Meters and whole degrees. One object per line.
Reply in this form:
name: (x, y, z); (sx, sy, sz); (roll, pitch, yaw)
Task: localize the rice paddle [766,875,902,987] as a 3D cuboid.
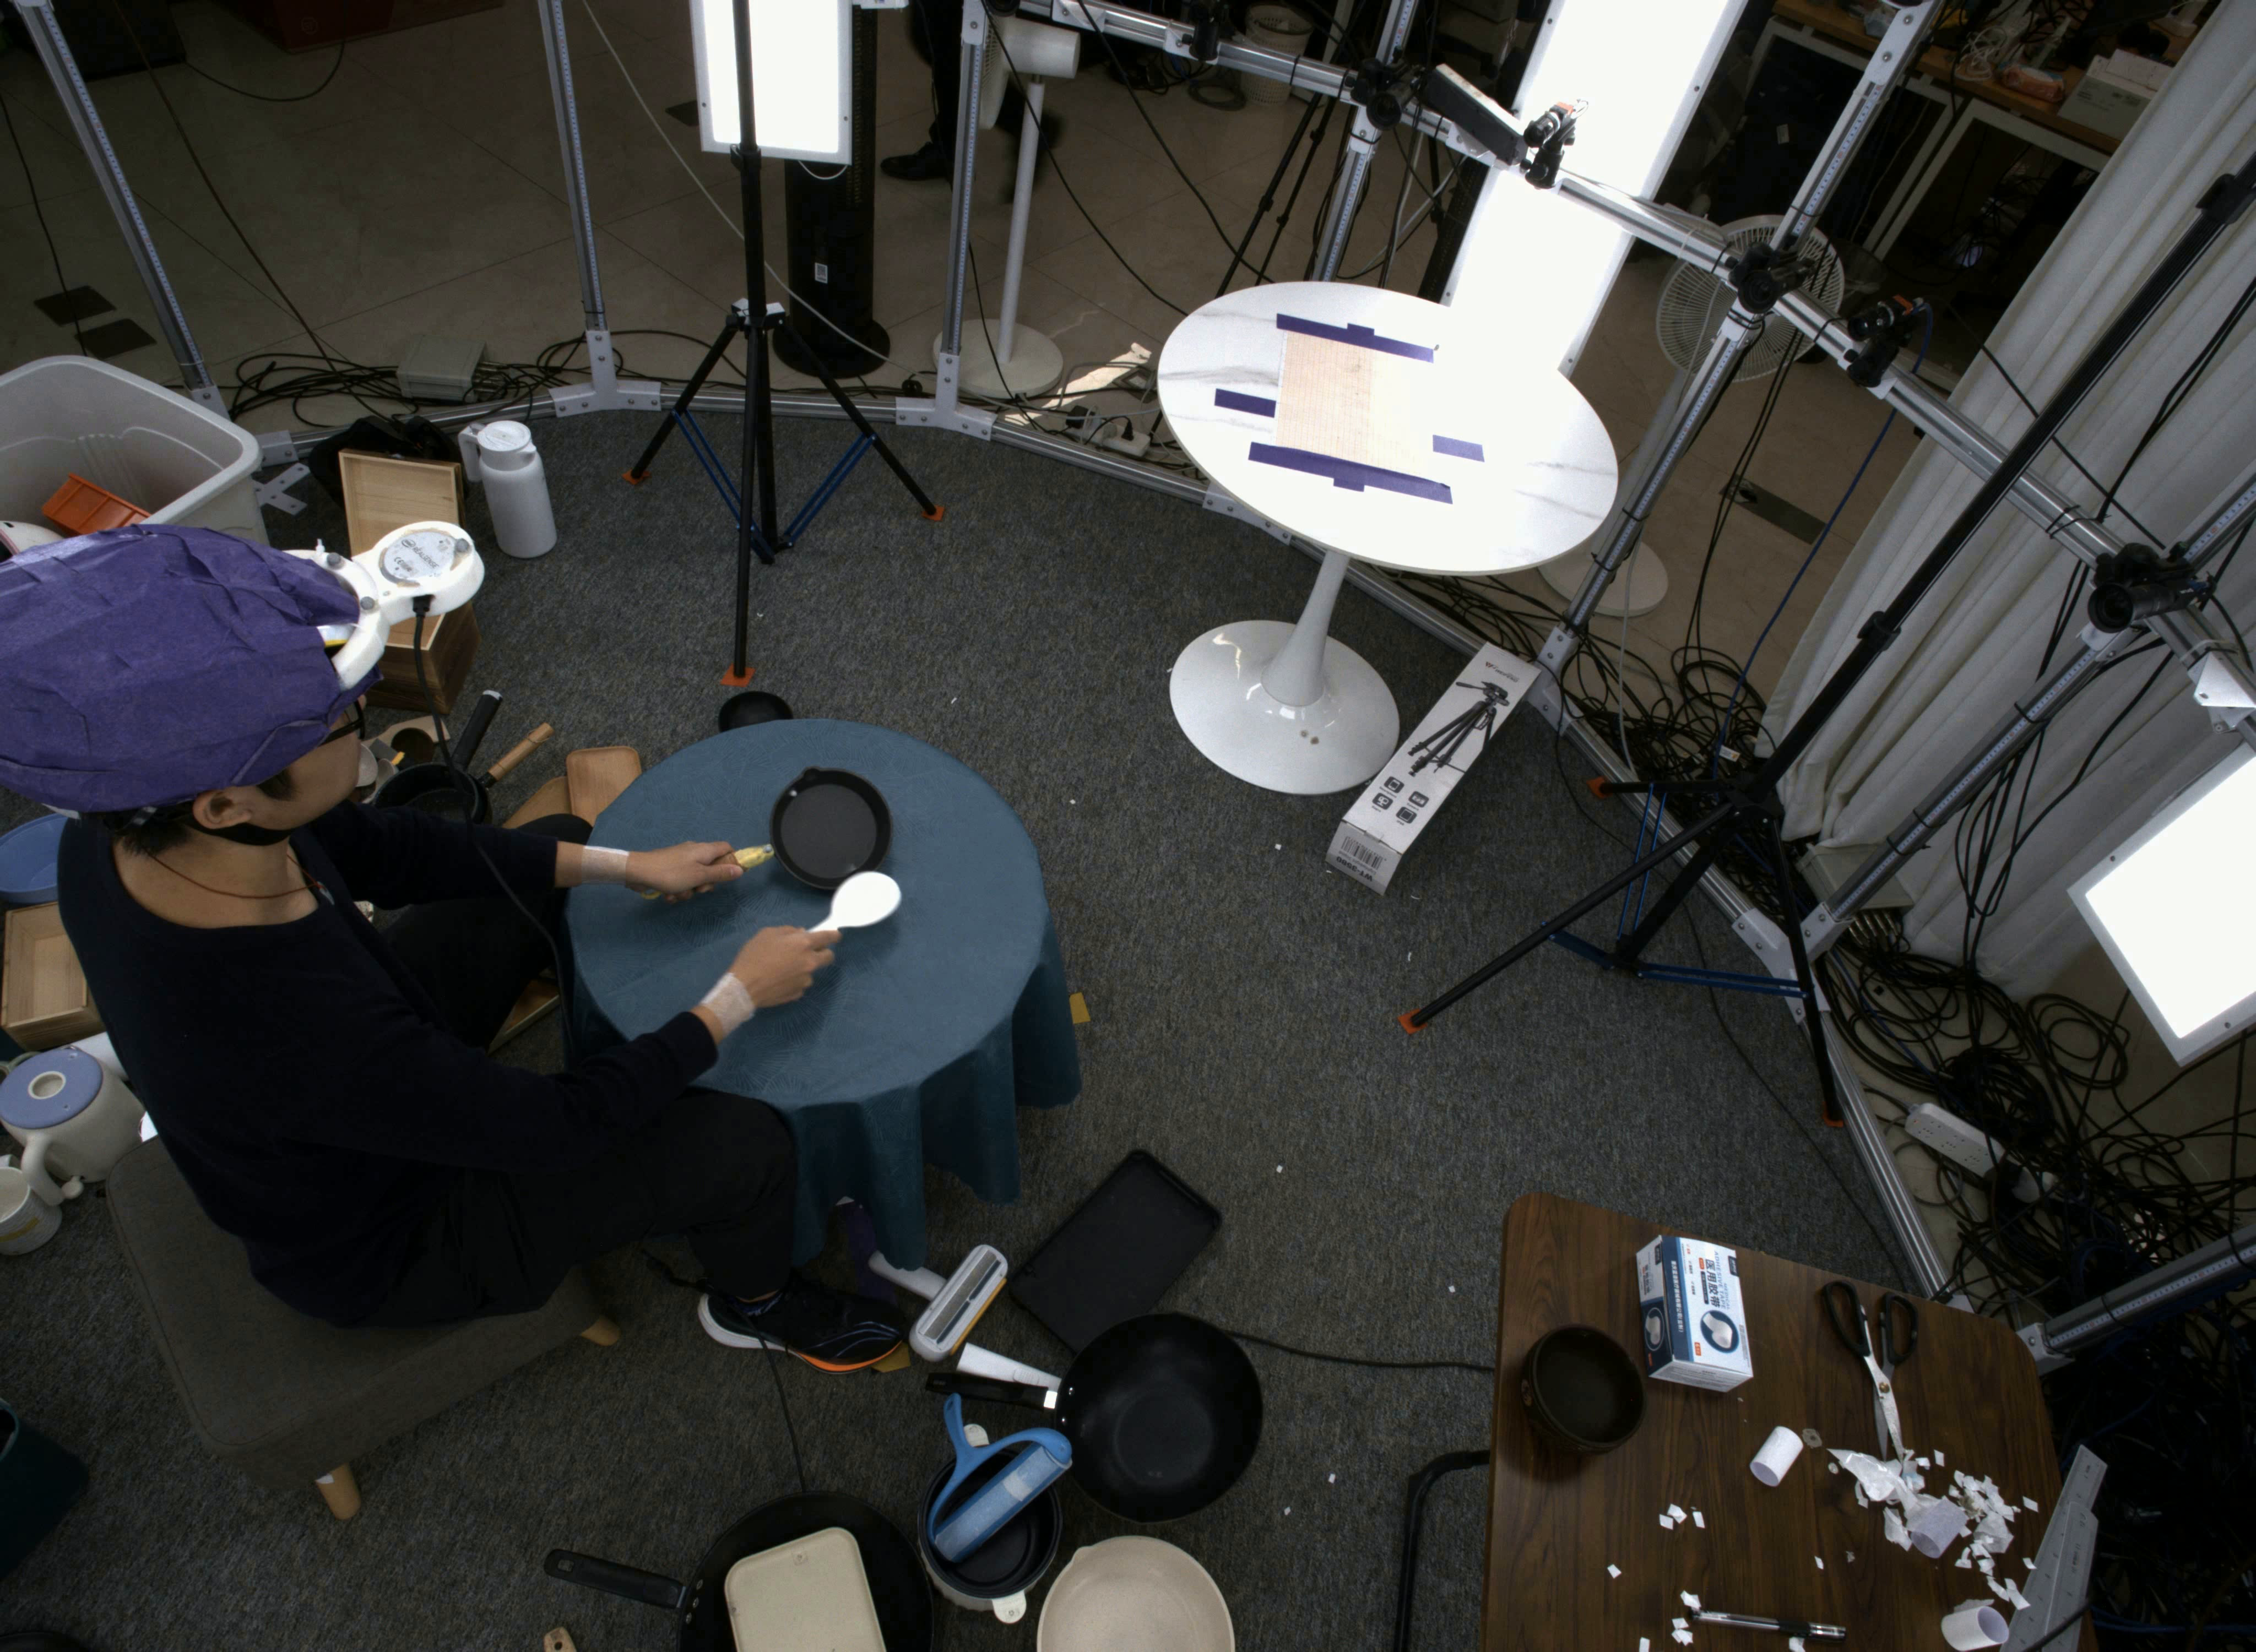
rice paddle: (-0.353, 0.120, 1.575); (0.068, 0.030, 0.205); (40, 50, 10)

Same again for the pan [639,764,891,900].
pan: (-0.454, 0.028, 1.622); (0.325, 0.049, 0.171); (-19, 92, -25)
